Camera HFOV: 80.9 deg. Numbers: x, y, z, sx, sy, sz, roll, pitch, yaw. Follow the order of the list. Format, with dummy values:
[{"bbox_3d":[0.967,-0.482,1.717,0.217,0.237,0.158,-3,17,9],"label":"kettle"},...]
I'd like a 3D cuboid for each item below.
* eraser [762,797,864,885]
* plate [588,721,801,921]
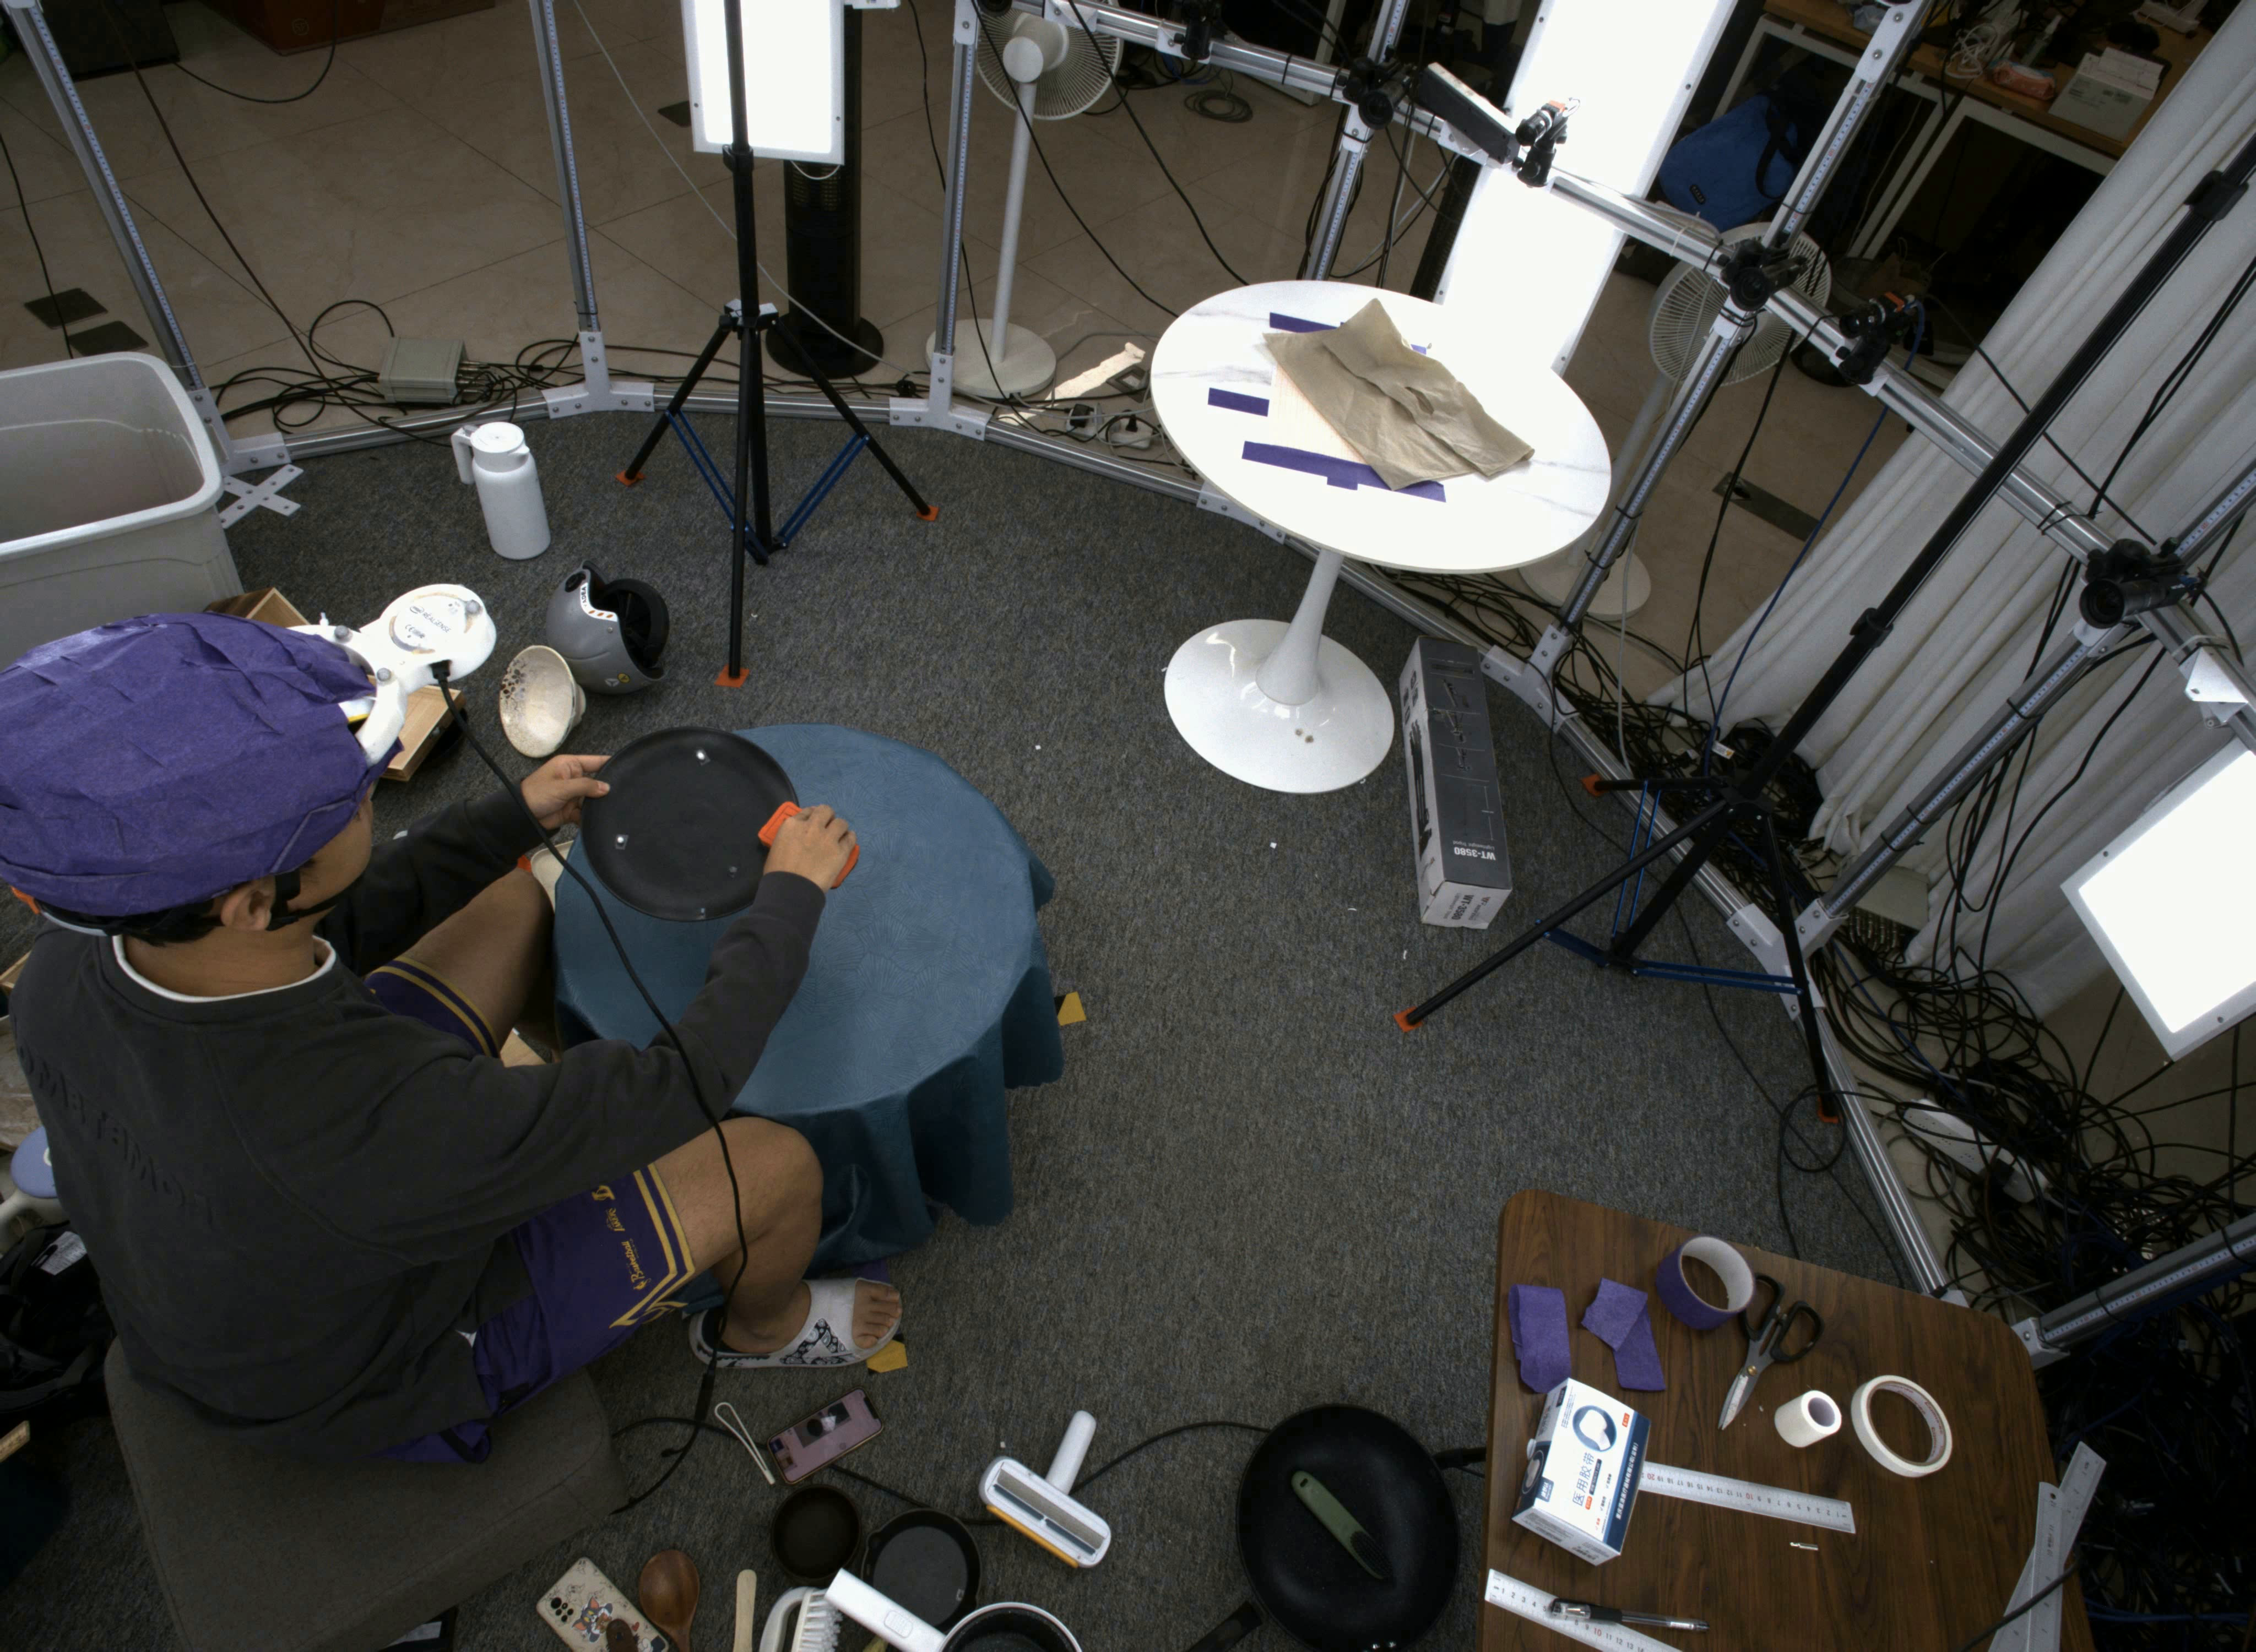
[{"bbox_3d":[-0.359,0.015,1.478,0.107,0.023,0.059,32,67,5],"label":"eraser"},{"bbox_3d":[-0.495,-0.007,1.474,0.245,0.023,0.242,7,67,-15],"label":"plate"}]
